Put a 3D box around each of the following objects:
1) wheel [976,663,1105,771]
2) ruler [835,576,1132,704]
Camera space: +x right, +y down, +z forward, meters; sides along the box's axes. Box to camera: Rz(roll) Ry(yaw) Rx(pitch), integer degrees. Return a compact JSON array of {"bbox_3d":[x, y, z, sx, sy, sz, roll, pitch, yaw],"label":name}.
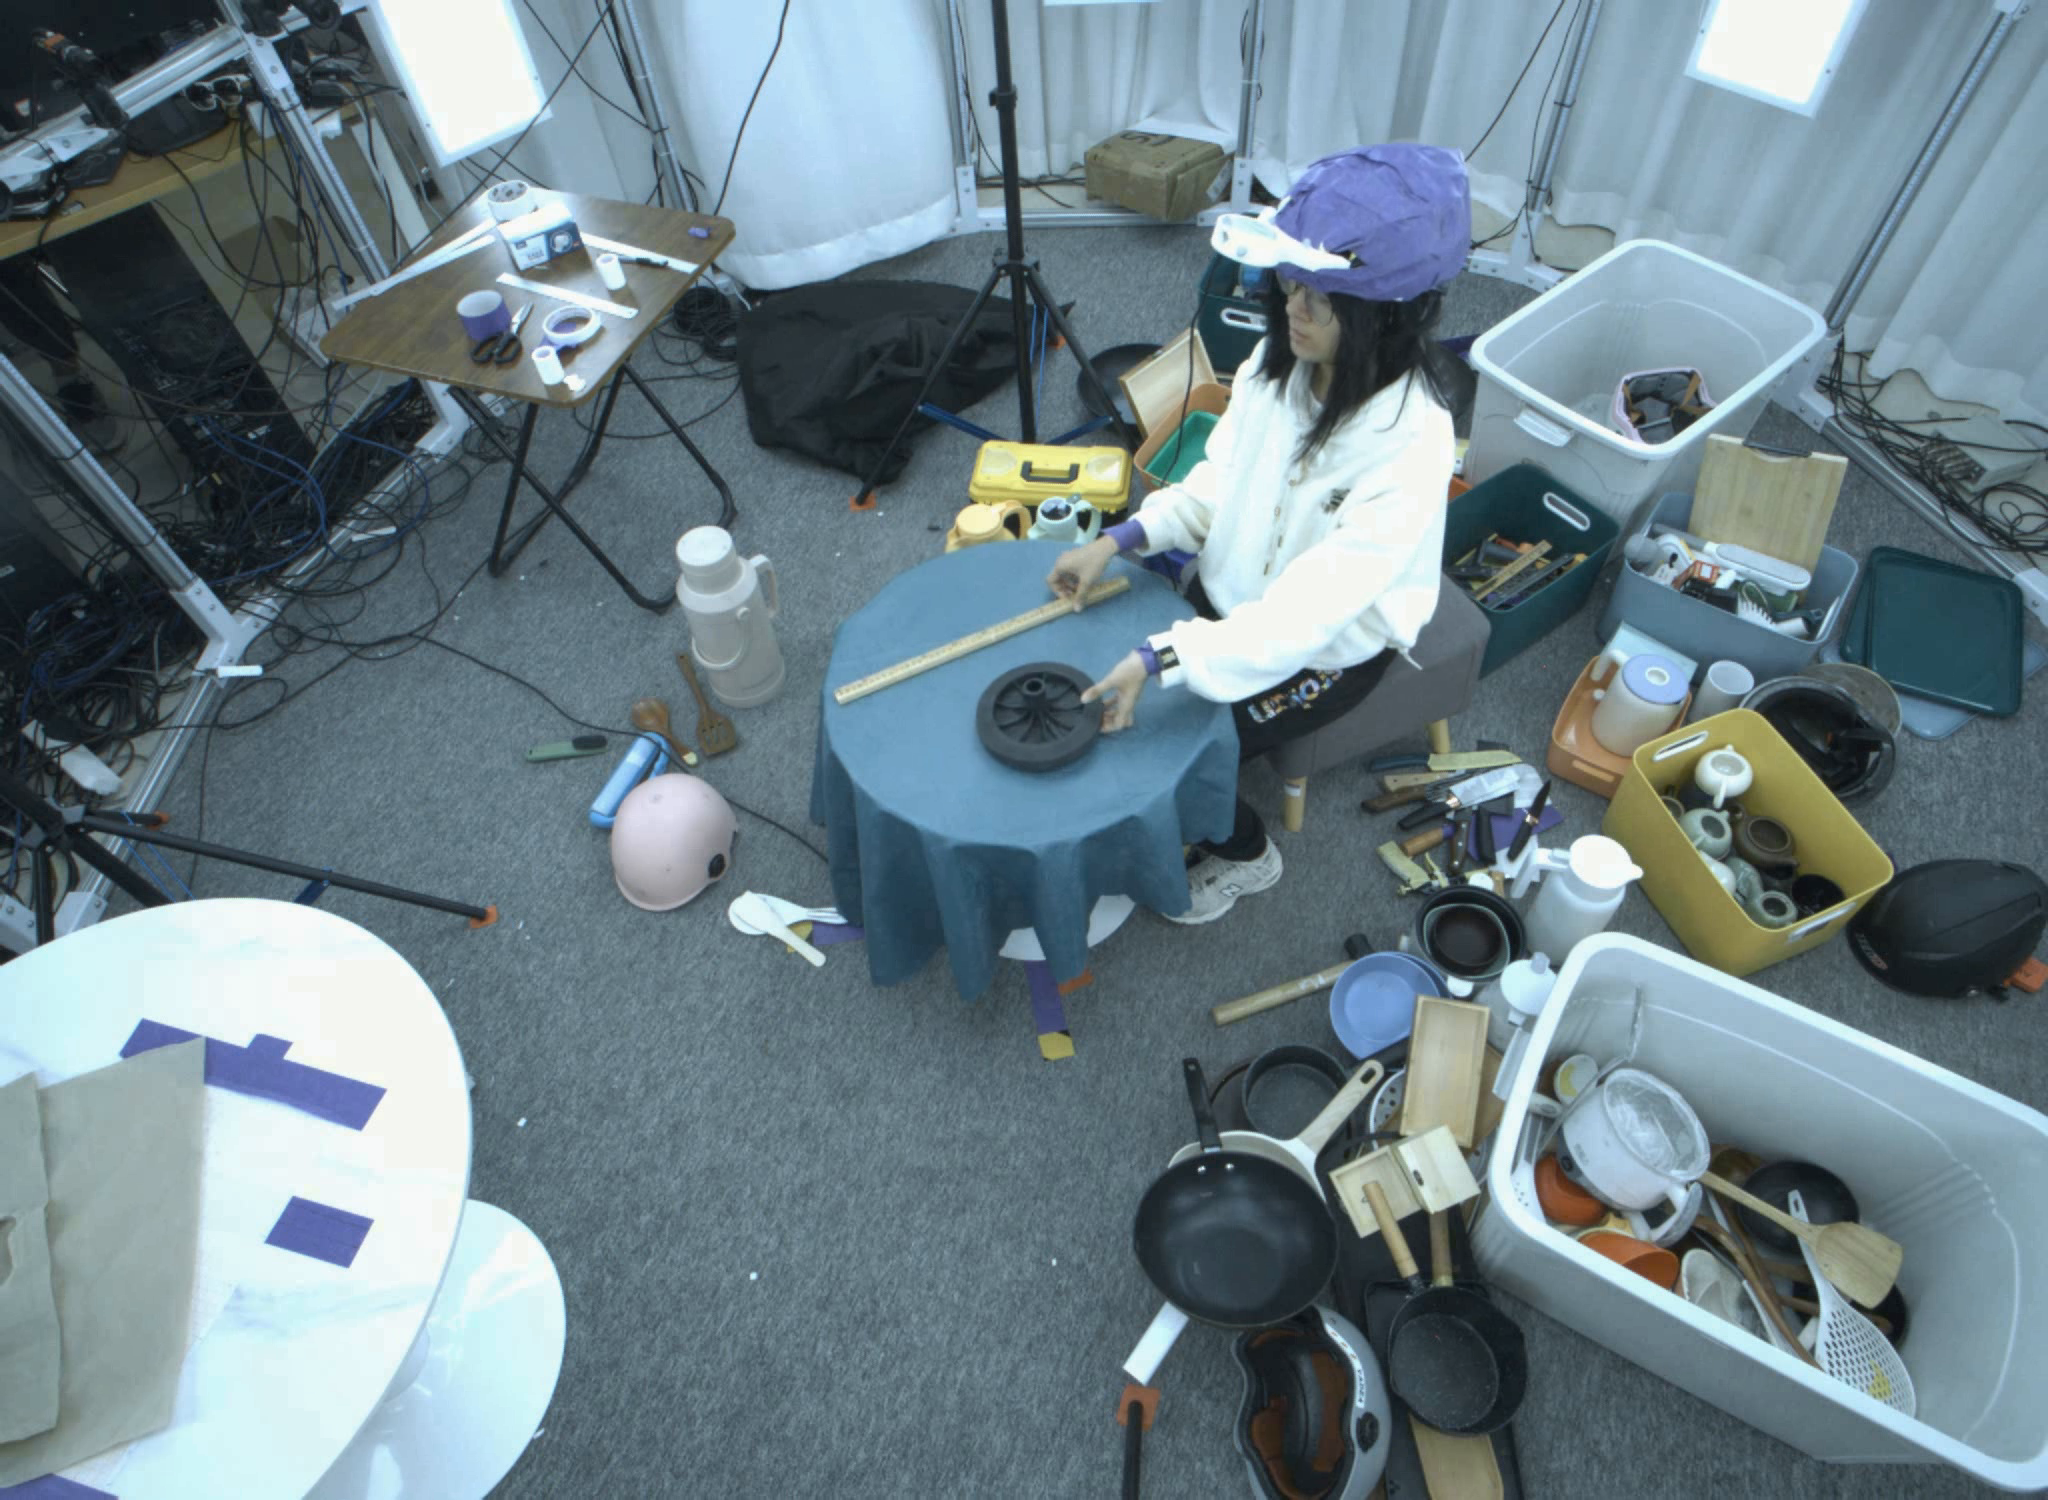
[{"bbox_3d":[0.021,-0.063,1.783,0.186,0.080,0.188,27,62,24],"label":"wheel"},{"bbox_3d":[-0.058,-0.175,1.906,0.504,0.006,0.026,-23,74,-14],"label":"ruler"}]
